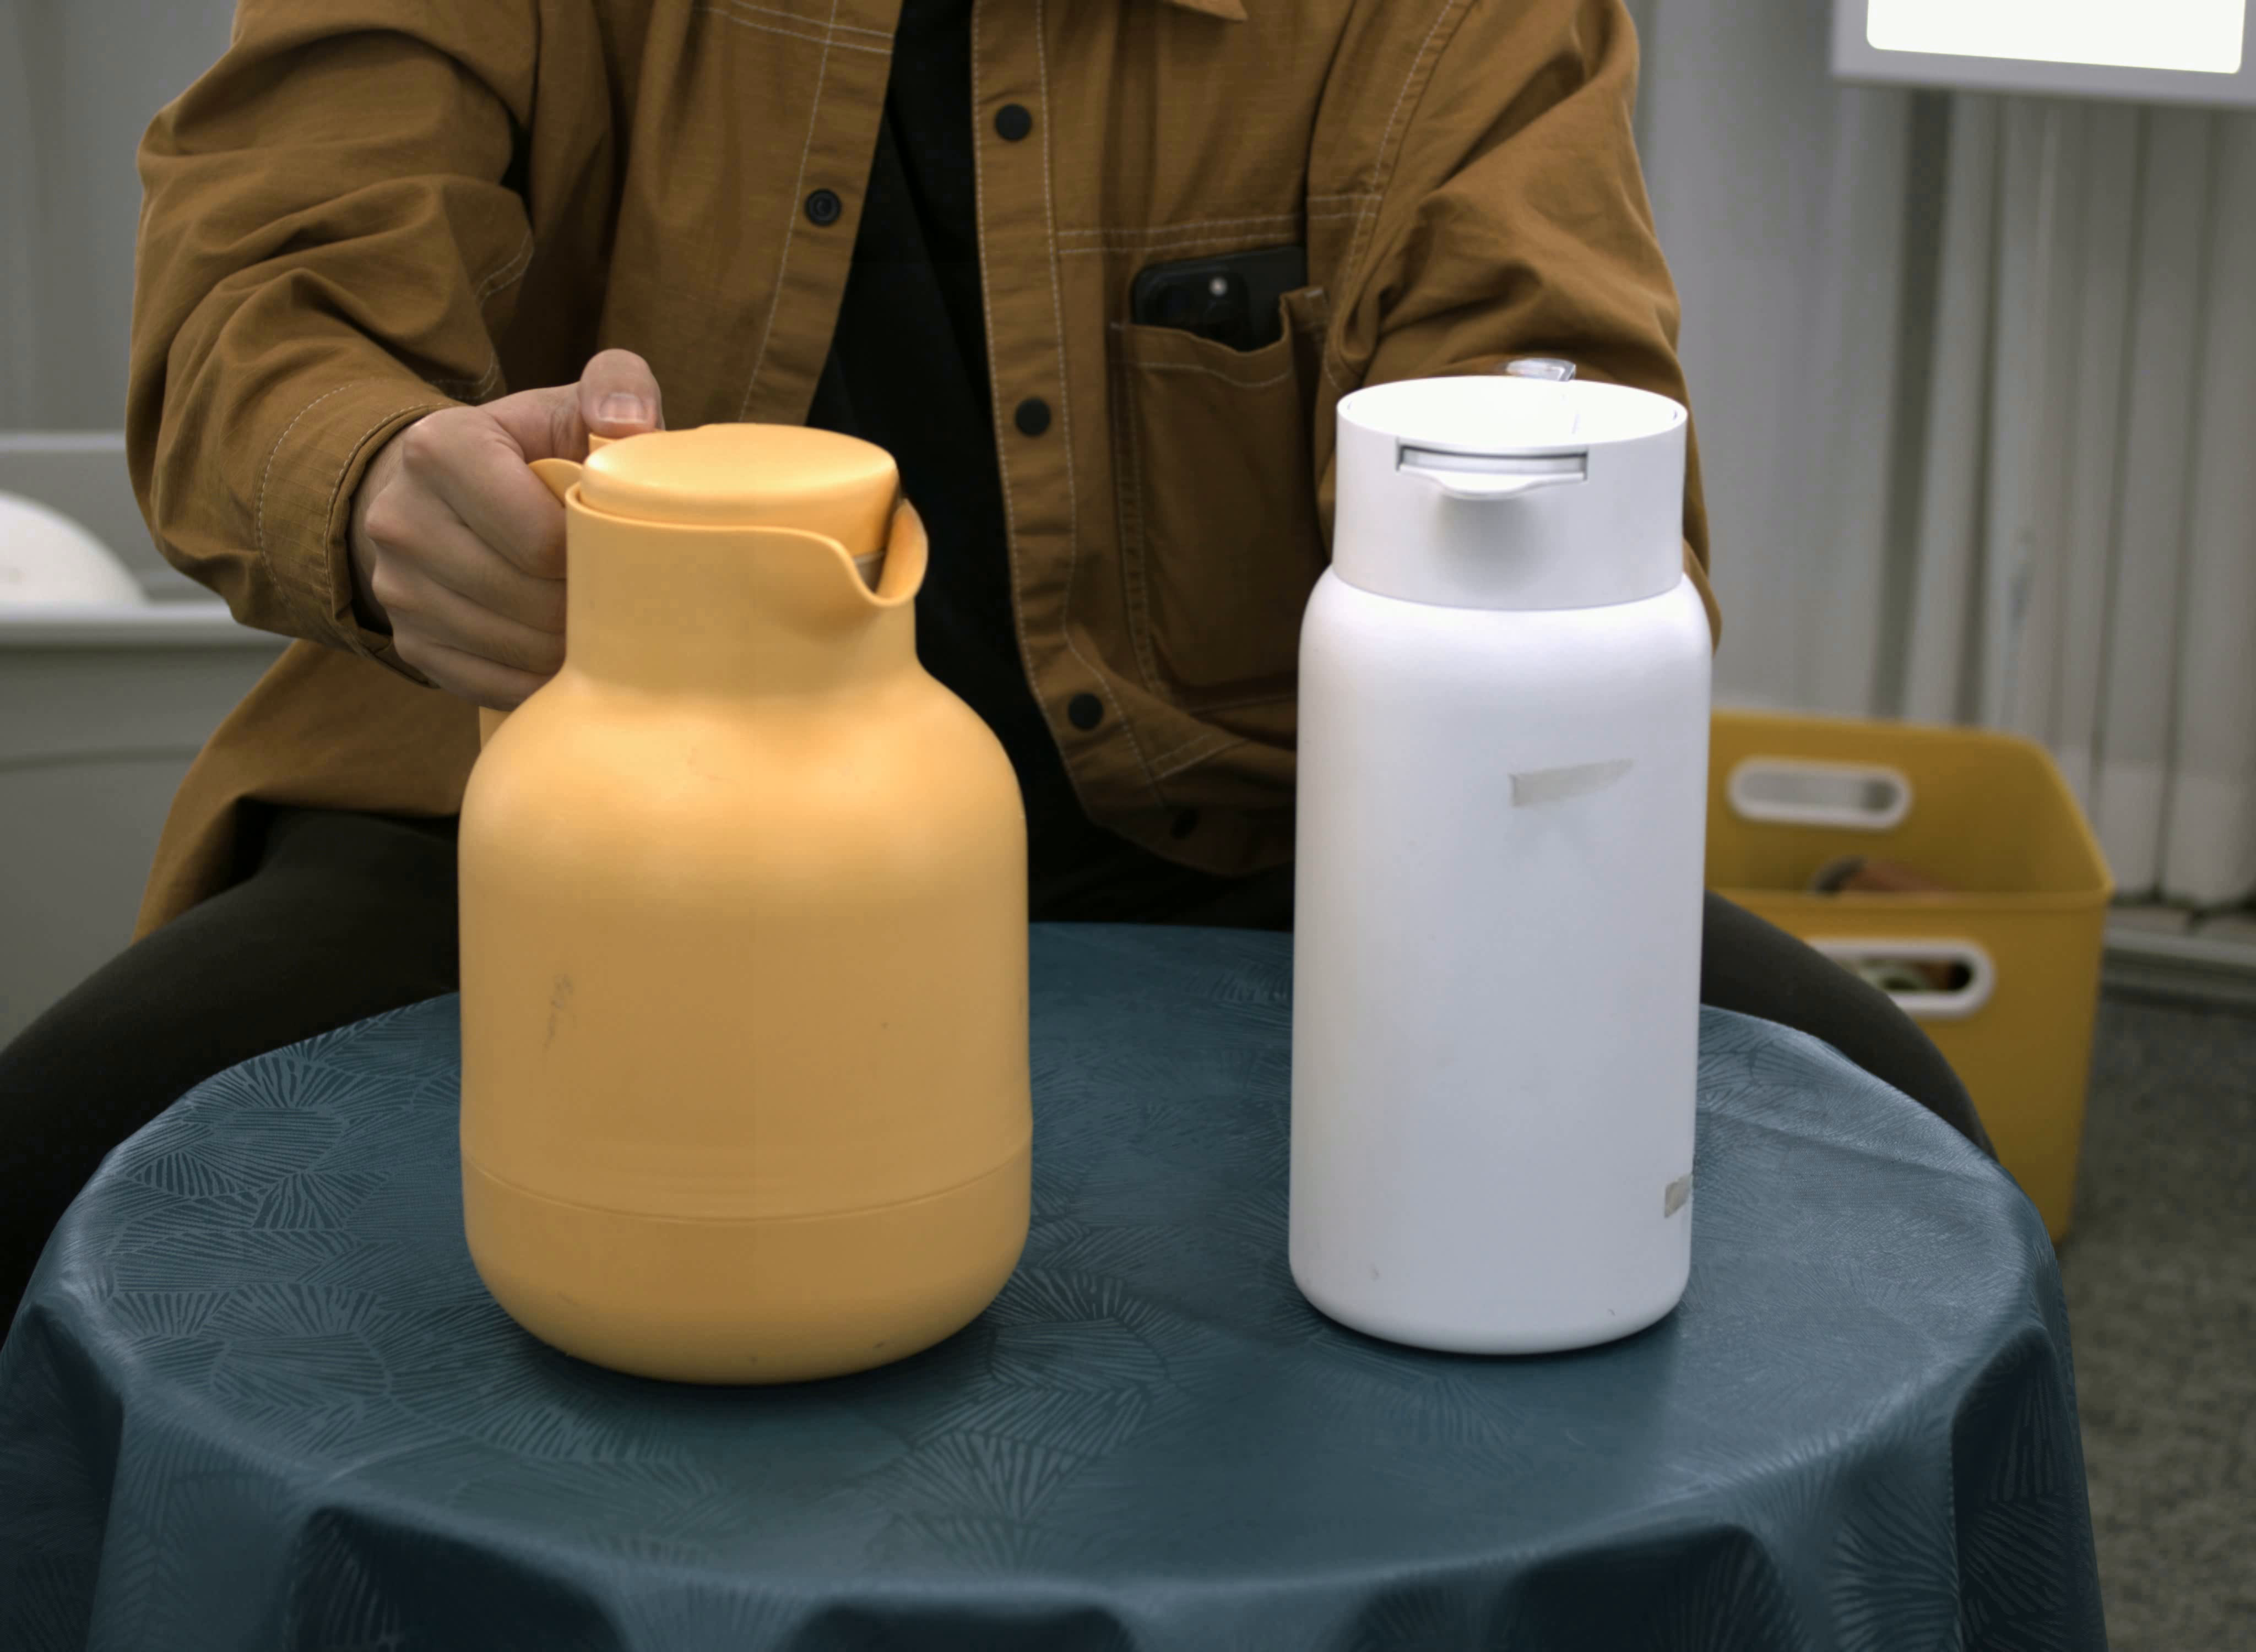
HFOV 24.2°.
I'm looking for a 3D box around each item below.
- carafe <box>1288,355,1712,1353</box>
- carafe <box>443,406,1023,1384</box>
[{"bbox_3d":[0.108,0.003,1.516,0.123,0.271,0.172,1,16,10],"label":"carafe"},{"bbox_3d":[-0.120,0.011,1.492,0.164,0.262,0.199,-8,19,-35],"label":"carafe"}]
